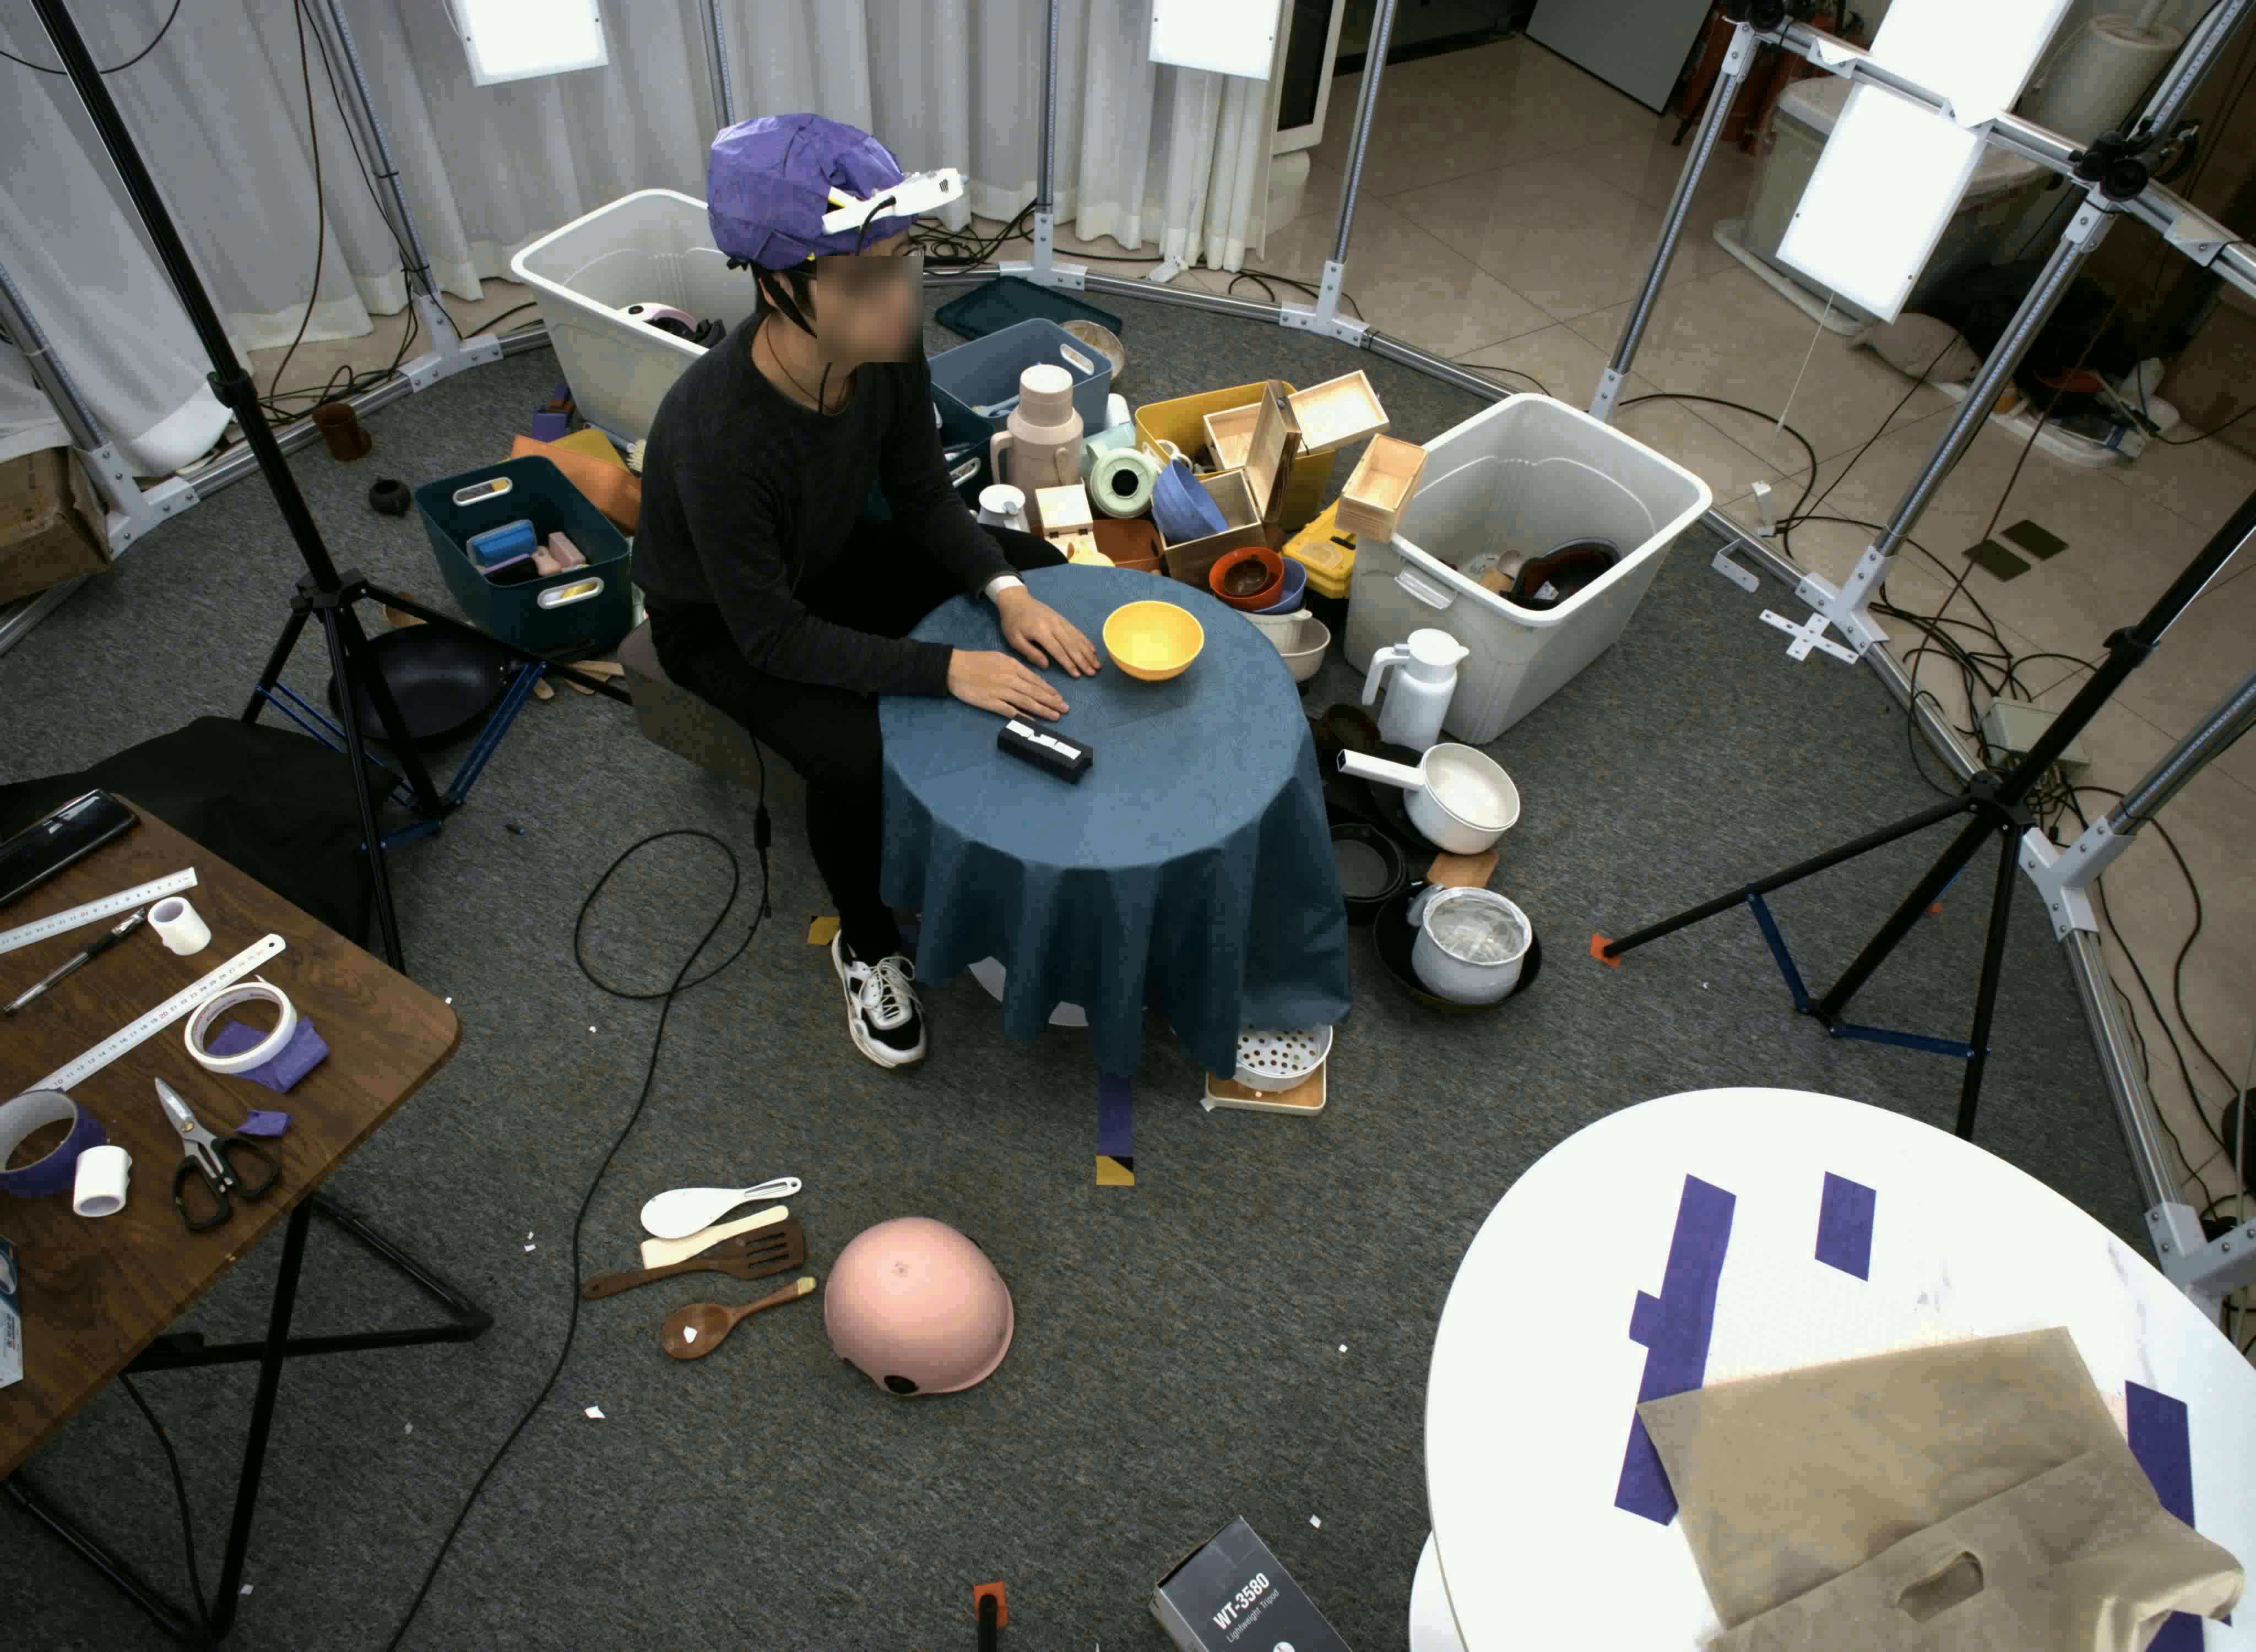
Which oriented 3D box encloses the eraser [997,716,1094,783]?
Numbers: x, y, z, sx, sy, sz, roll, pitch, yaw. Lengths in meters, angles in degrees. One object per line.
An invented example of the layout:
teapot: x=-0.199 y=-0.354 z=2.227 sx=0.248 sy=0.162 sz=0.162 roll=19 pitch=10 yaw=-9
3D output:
eraser: x=-0.112 y=-0.105 z=1.735 sx=0.126 sy=0.030 sz=0.054 roll=25 pitch=49 yaw=17

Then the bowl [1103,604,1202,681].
bowl: x=0.033 y=-0.254 z=1.855 sx=0.145 sy=0.058 sz=0.149 roll=2 pitch=47 yaw=-3
